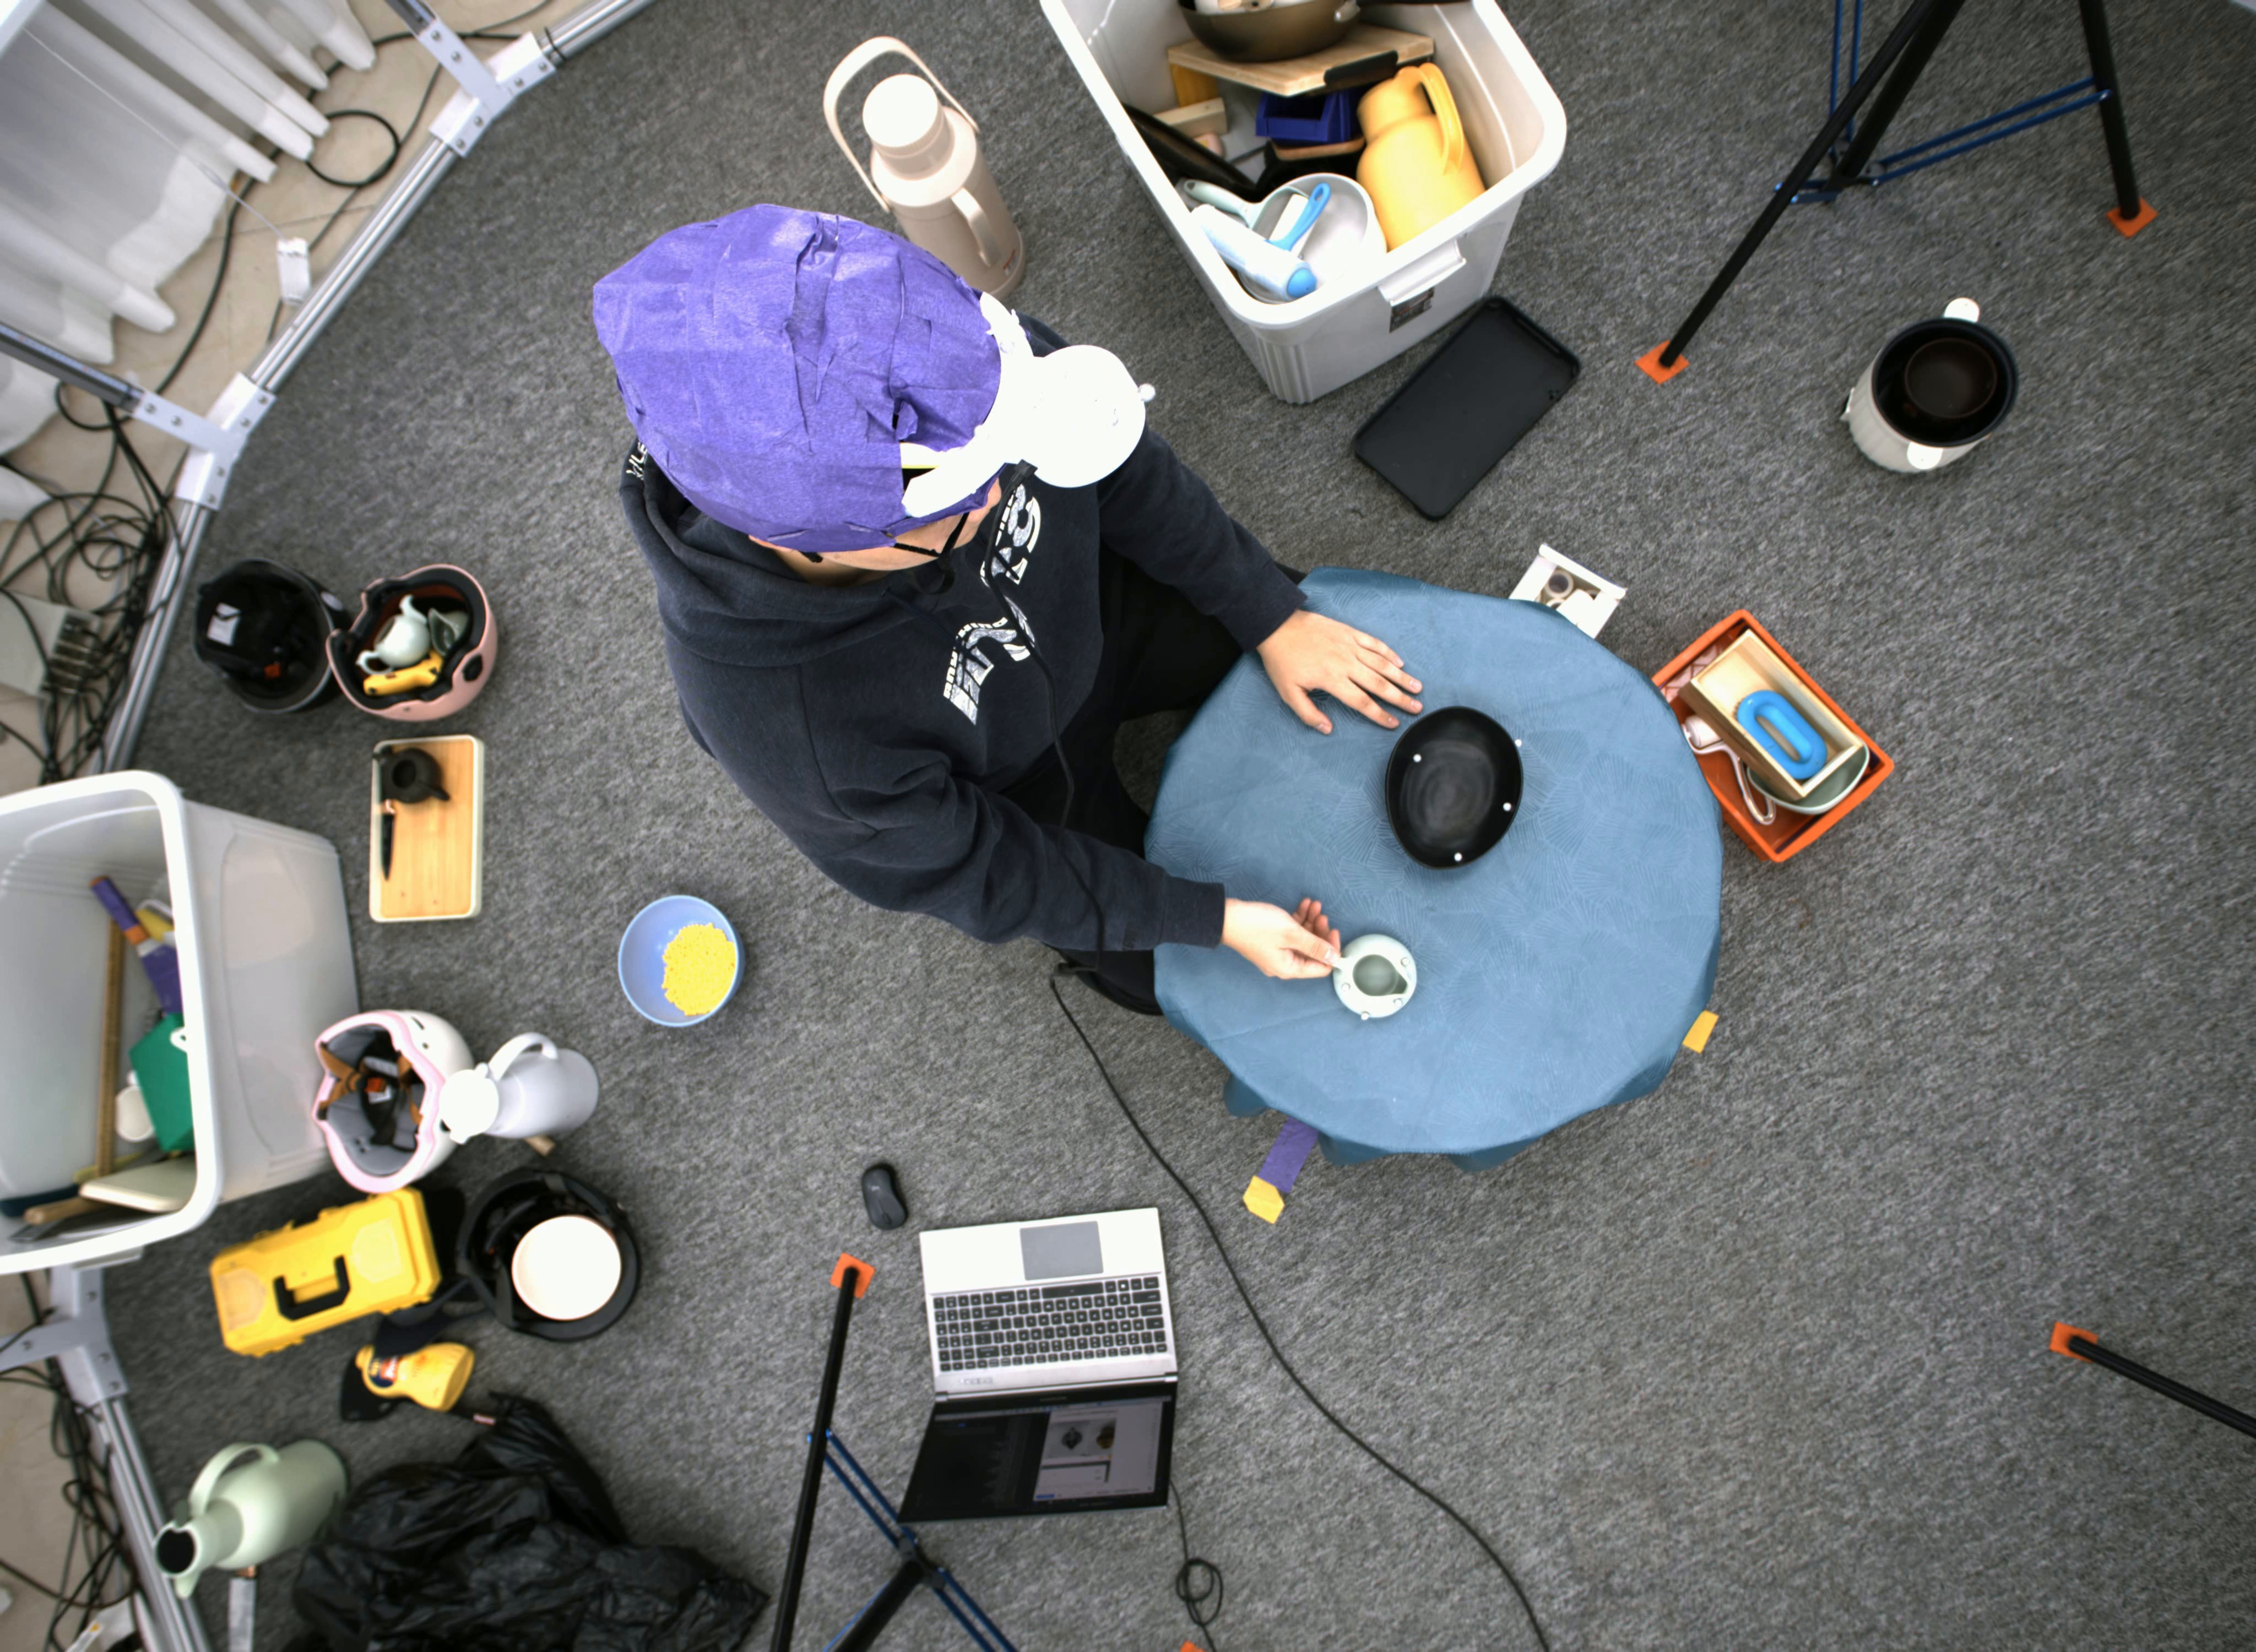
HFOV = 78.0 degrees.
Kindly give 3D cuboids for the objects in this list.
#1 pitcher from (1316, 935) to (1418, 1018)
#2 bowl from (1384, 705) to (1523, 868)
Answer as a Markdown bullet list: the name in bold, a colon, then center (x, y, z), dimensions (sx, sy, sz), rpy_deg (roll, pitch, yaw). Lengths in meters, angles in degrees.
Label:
- **pitcher**: center (0.246, 0.150, 1.433), dimensions (0.108, 0.060, 0.086), rpy_deg (19, 88, 14)
- **bowl**: center (0.335, -0.039, 1.423), dimensions (0.137, 0.066, 0.170), rpy_deg (12, 89, 12)
